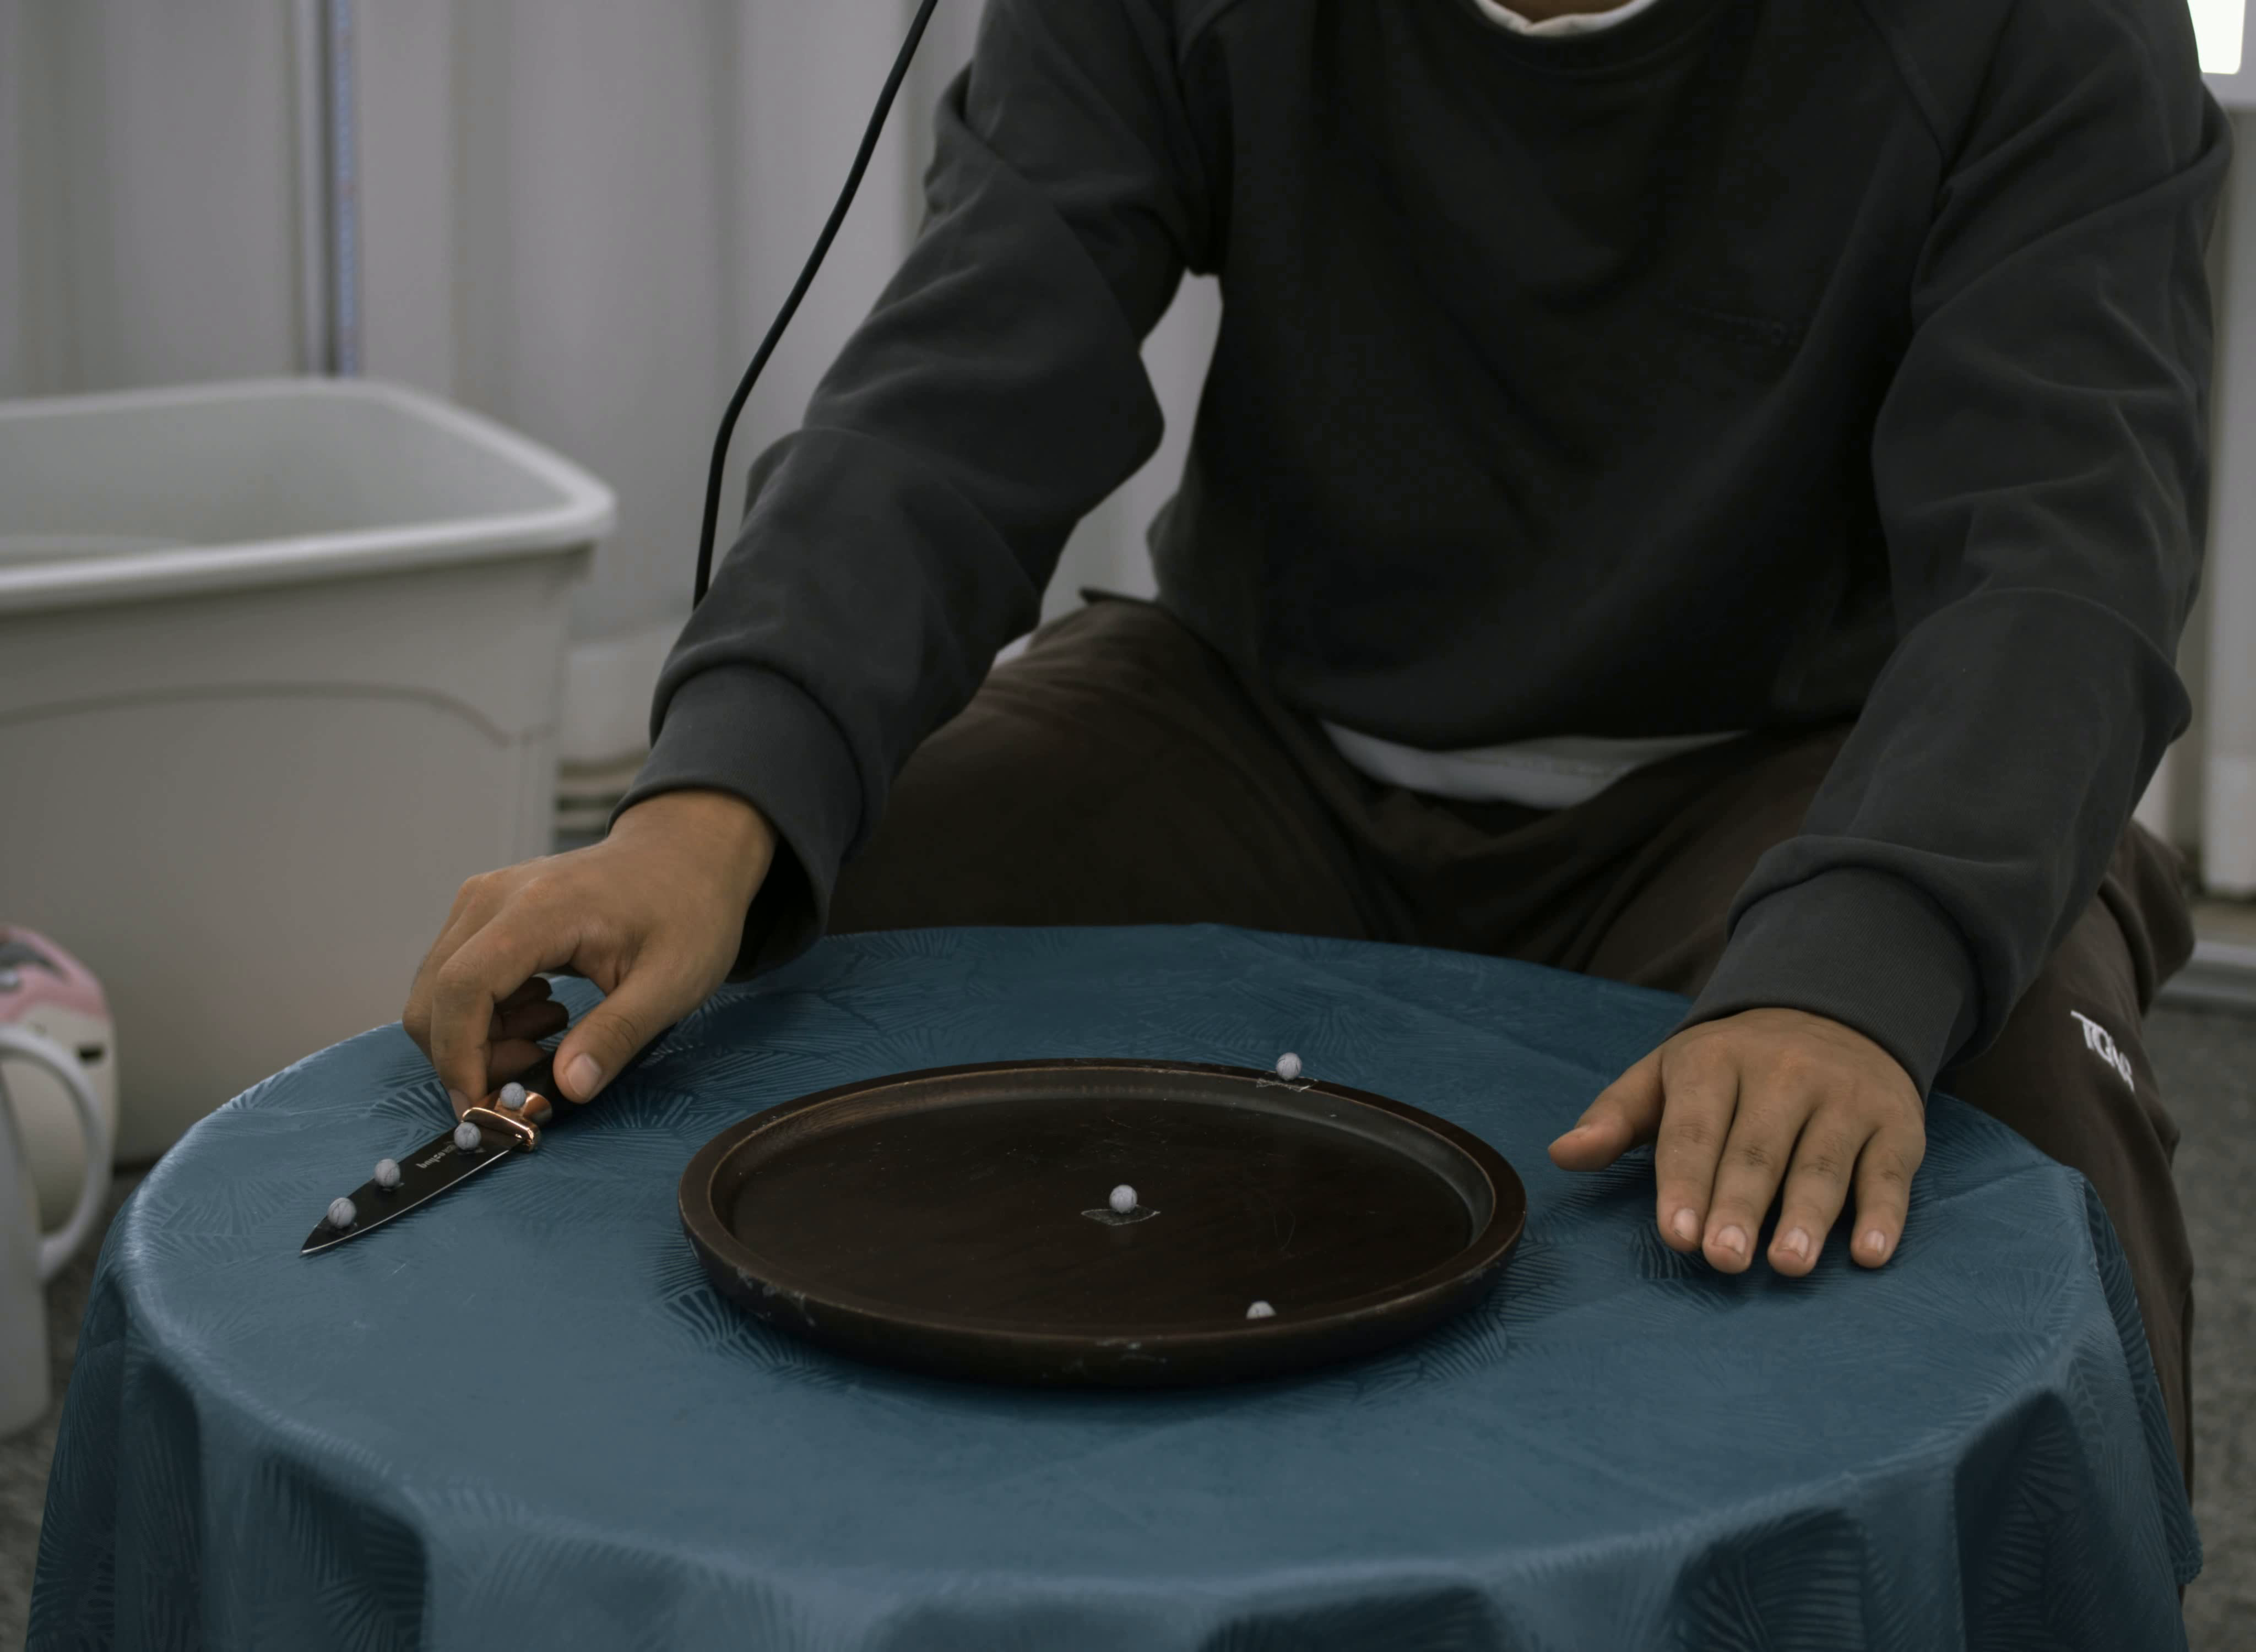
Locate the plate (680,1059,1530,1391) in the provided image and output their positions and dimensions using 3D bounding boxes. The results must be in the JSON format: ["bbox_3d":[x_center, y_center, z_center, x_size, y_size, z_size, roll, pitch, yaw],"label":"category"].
[{"bbox_3d":[-0.007,0.116,1.568,0.254,0.029,0.253,0,14,0],"label":"plate"}]

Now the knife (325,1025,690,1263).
[{"bbox_3d":[-0.195,0.098,1.648,0.026,0.017,0.226,17,20,19],"label":"knife"}]
